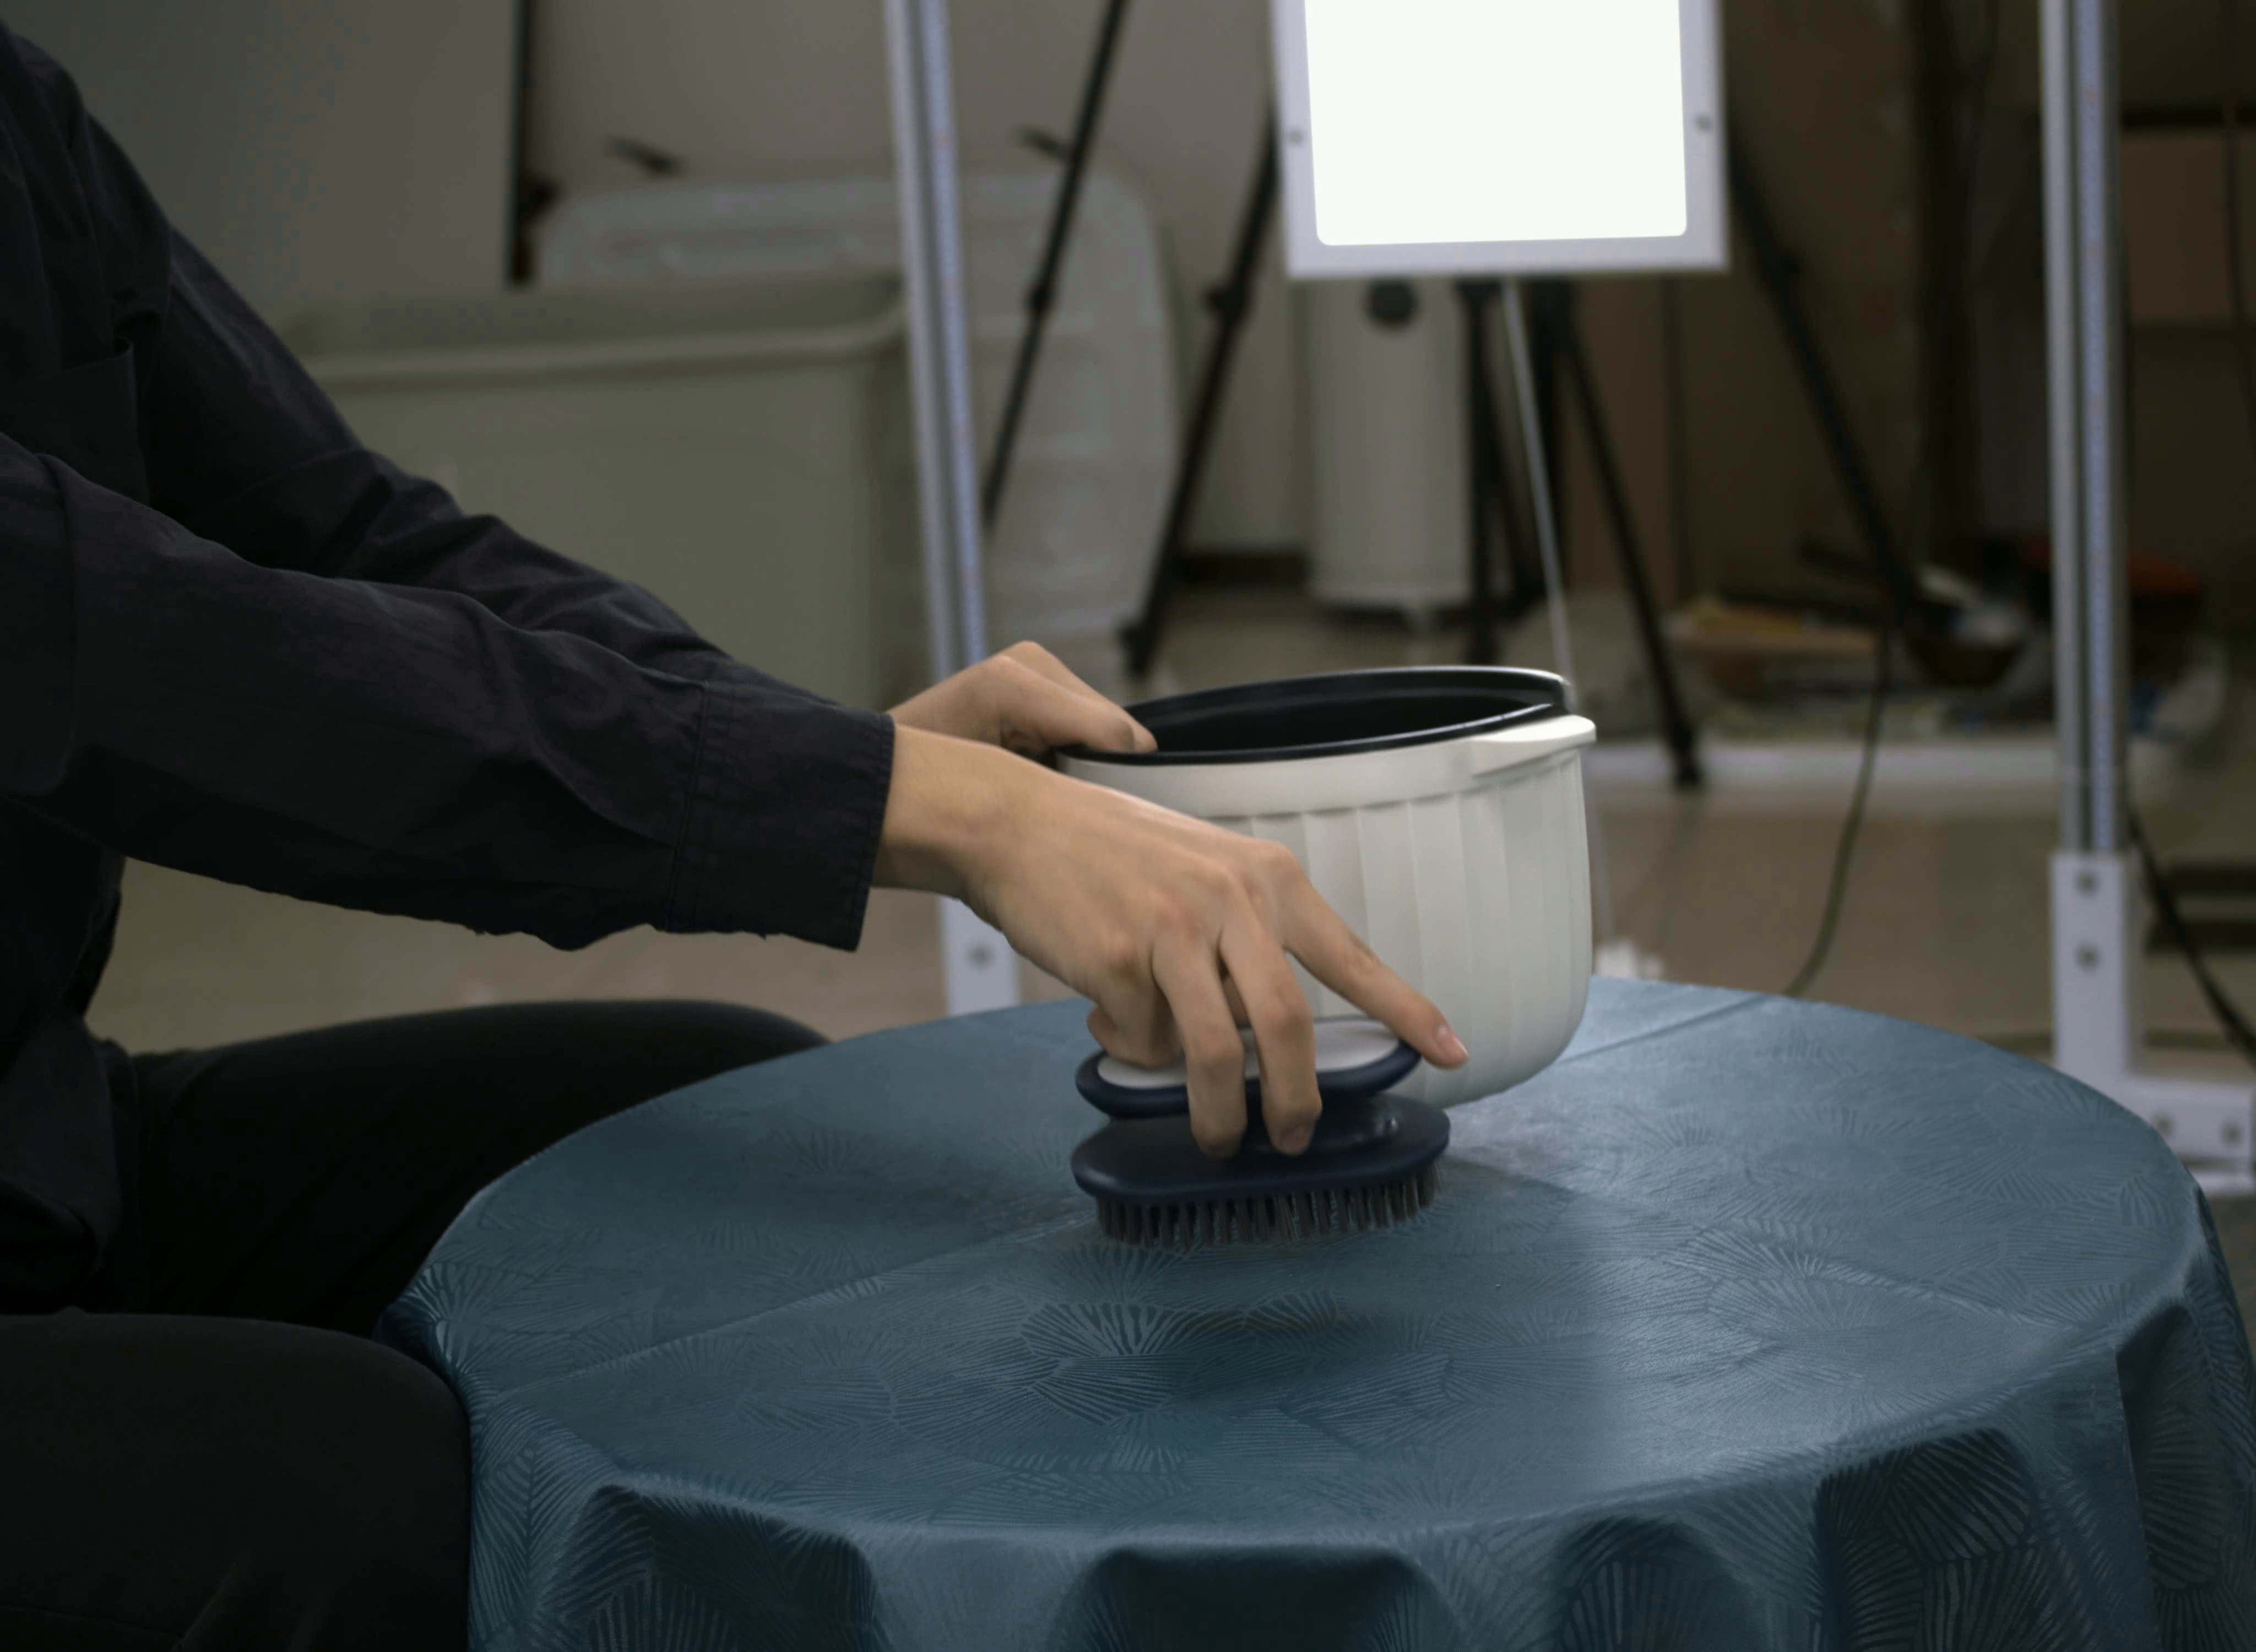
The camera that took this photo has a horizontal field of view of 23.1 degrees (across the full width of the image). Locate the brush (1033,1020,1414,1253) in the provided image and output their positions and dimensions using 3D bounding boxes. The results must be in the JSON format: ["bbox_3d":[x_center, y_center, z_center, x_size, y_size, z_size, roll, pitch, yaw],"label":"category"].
[{"bbox_3d":[0.030,0.100,1.735,0.122,0.061,0.067,-2,21,10],"label":"brush"}]

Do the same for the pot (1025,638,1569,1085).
[{"bbox_3d":[0.065,0.014,1.915,0.185,0.143,0.246,-18,16,-42],"label":"pot"}]
